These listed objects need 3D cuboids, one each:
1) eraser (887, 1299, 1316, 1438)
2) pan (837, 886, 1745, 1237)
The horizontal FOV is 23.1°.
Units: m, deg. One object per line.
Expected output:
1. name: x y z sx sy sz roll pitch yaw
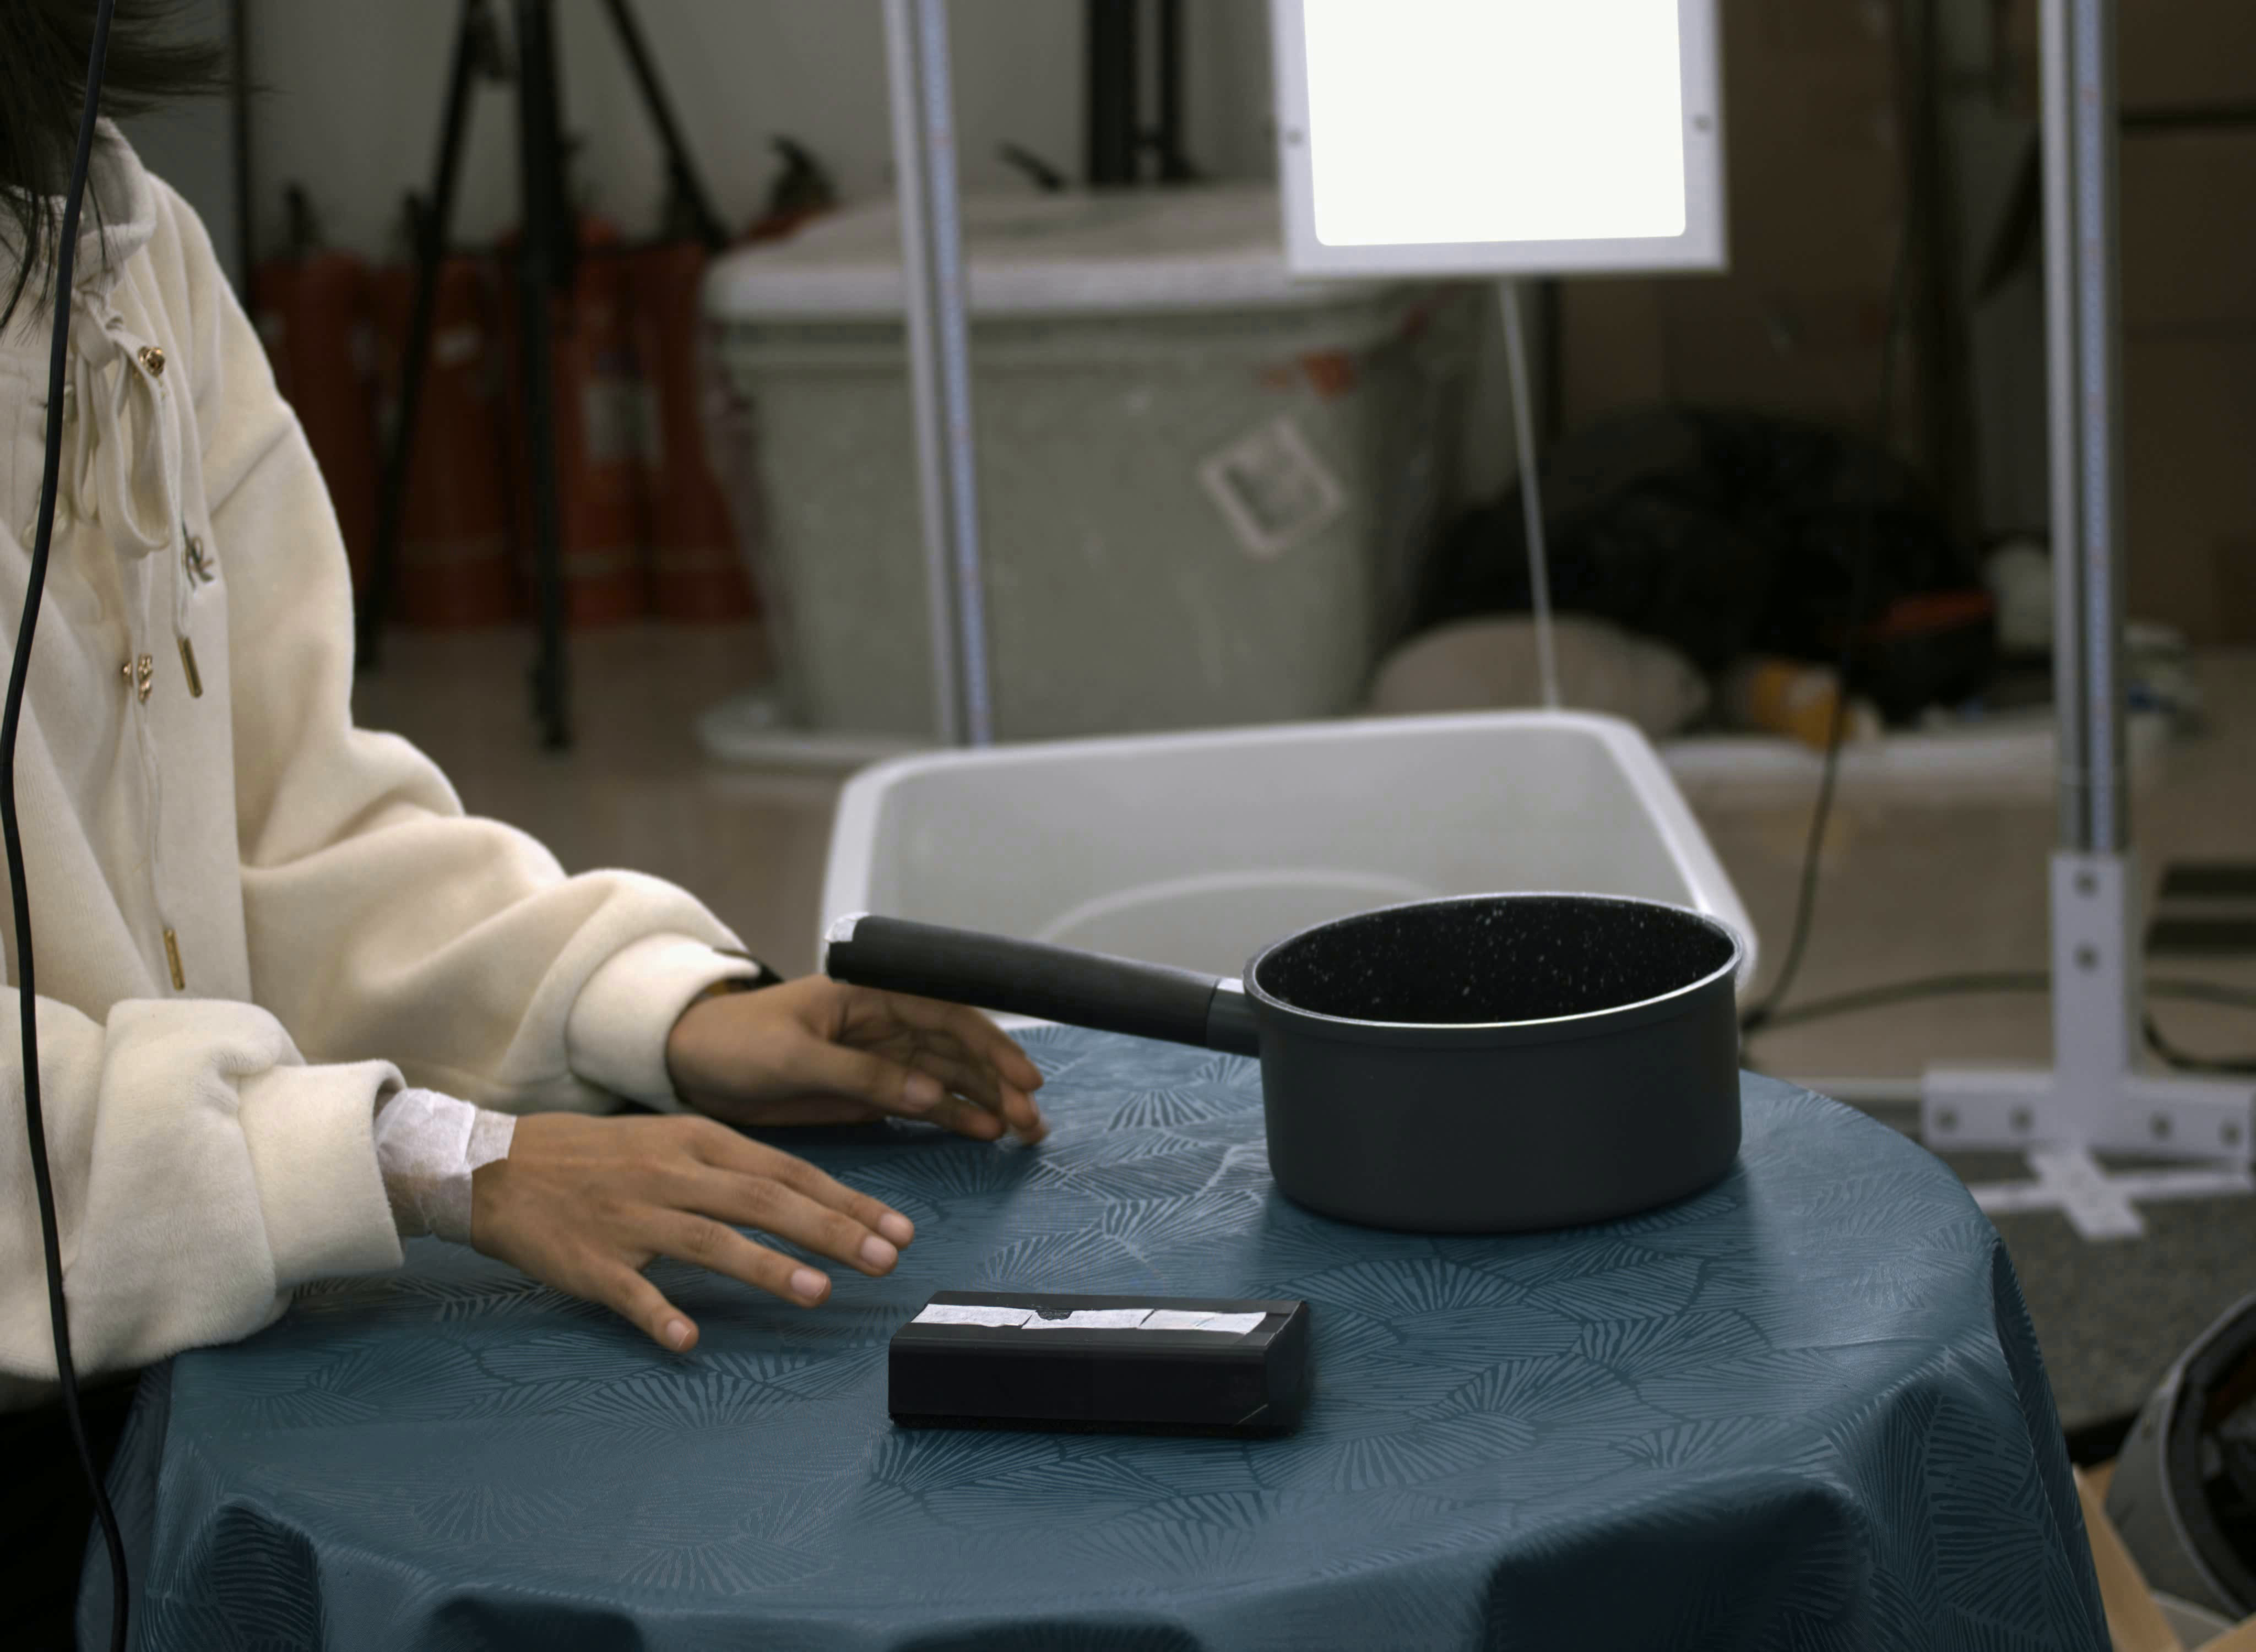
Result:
1. eraser: -0.006 0.165 1.686 0.127 0.030 0.052 -1 14 21
2. pan: 0.053 0.076 1.910 0.333 0.087 0.169 2 15 23
